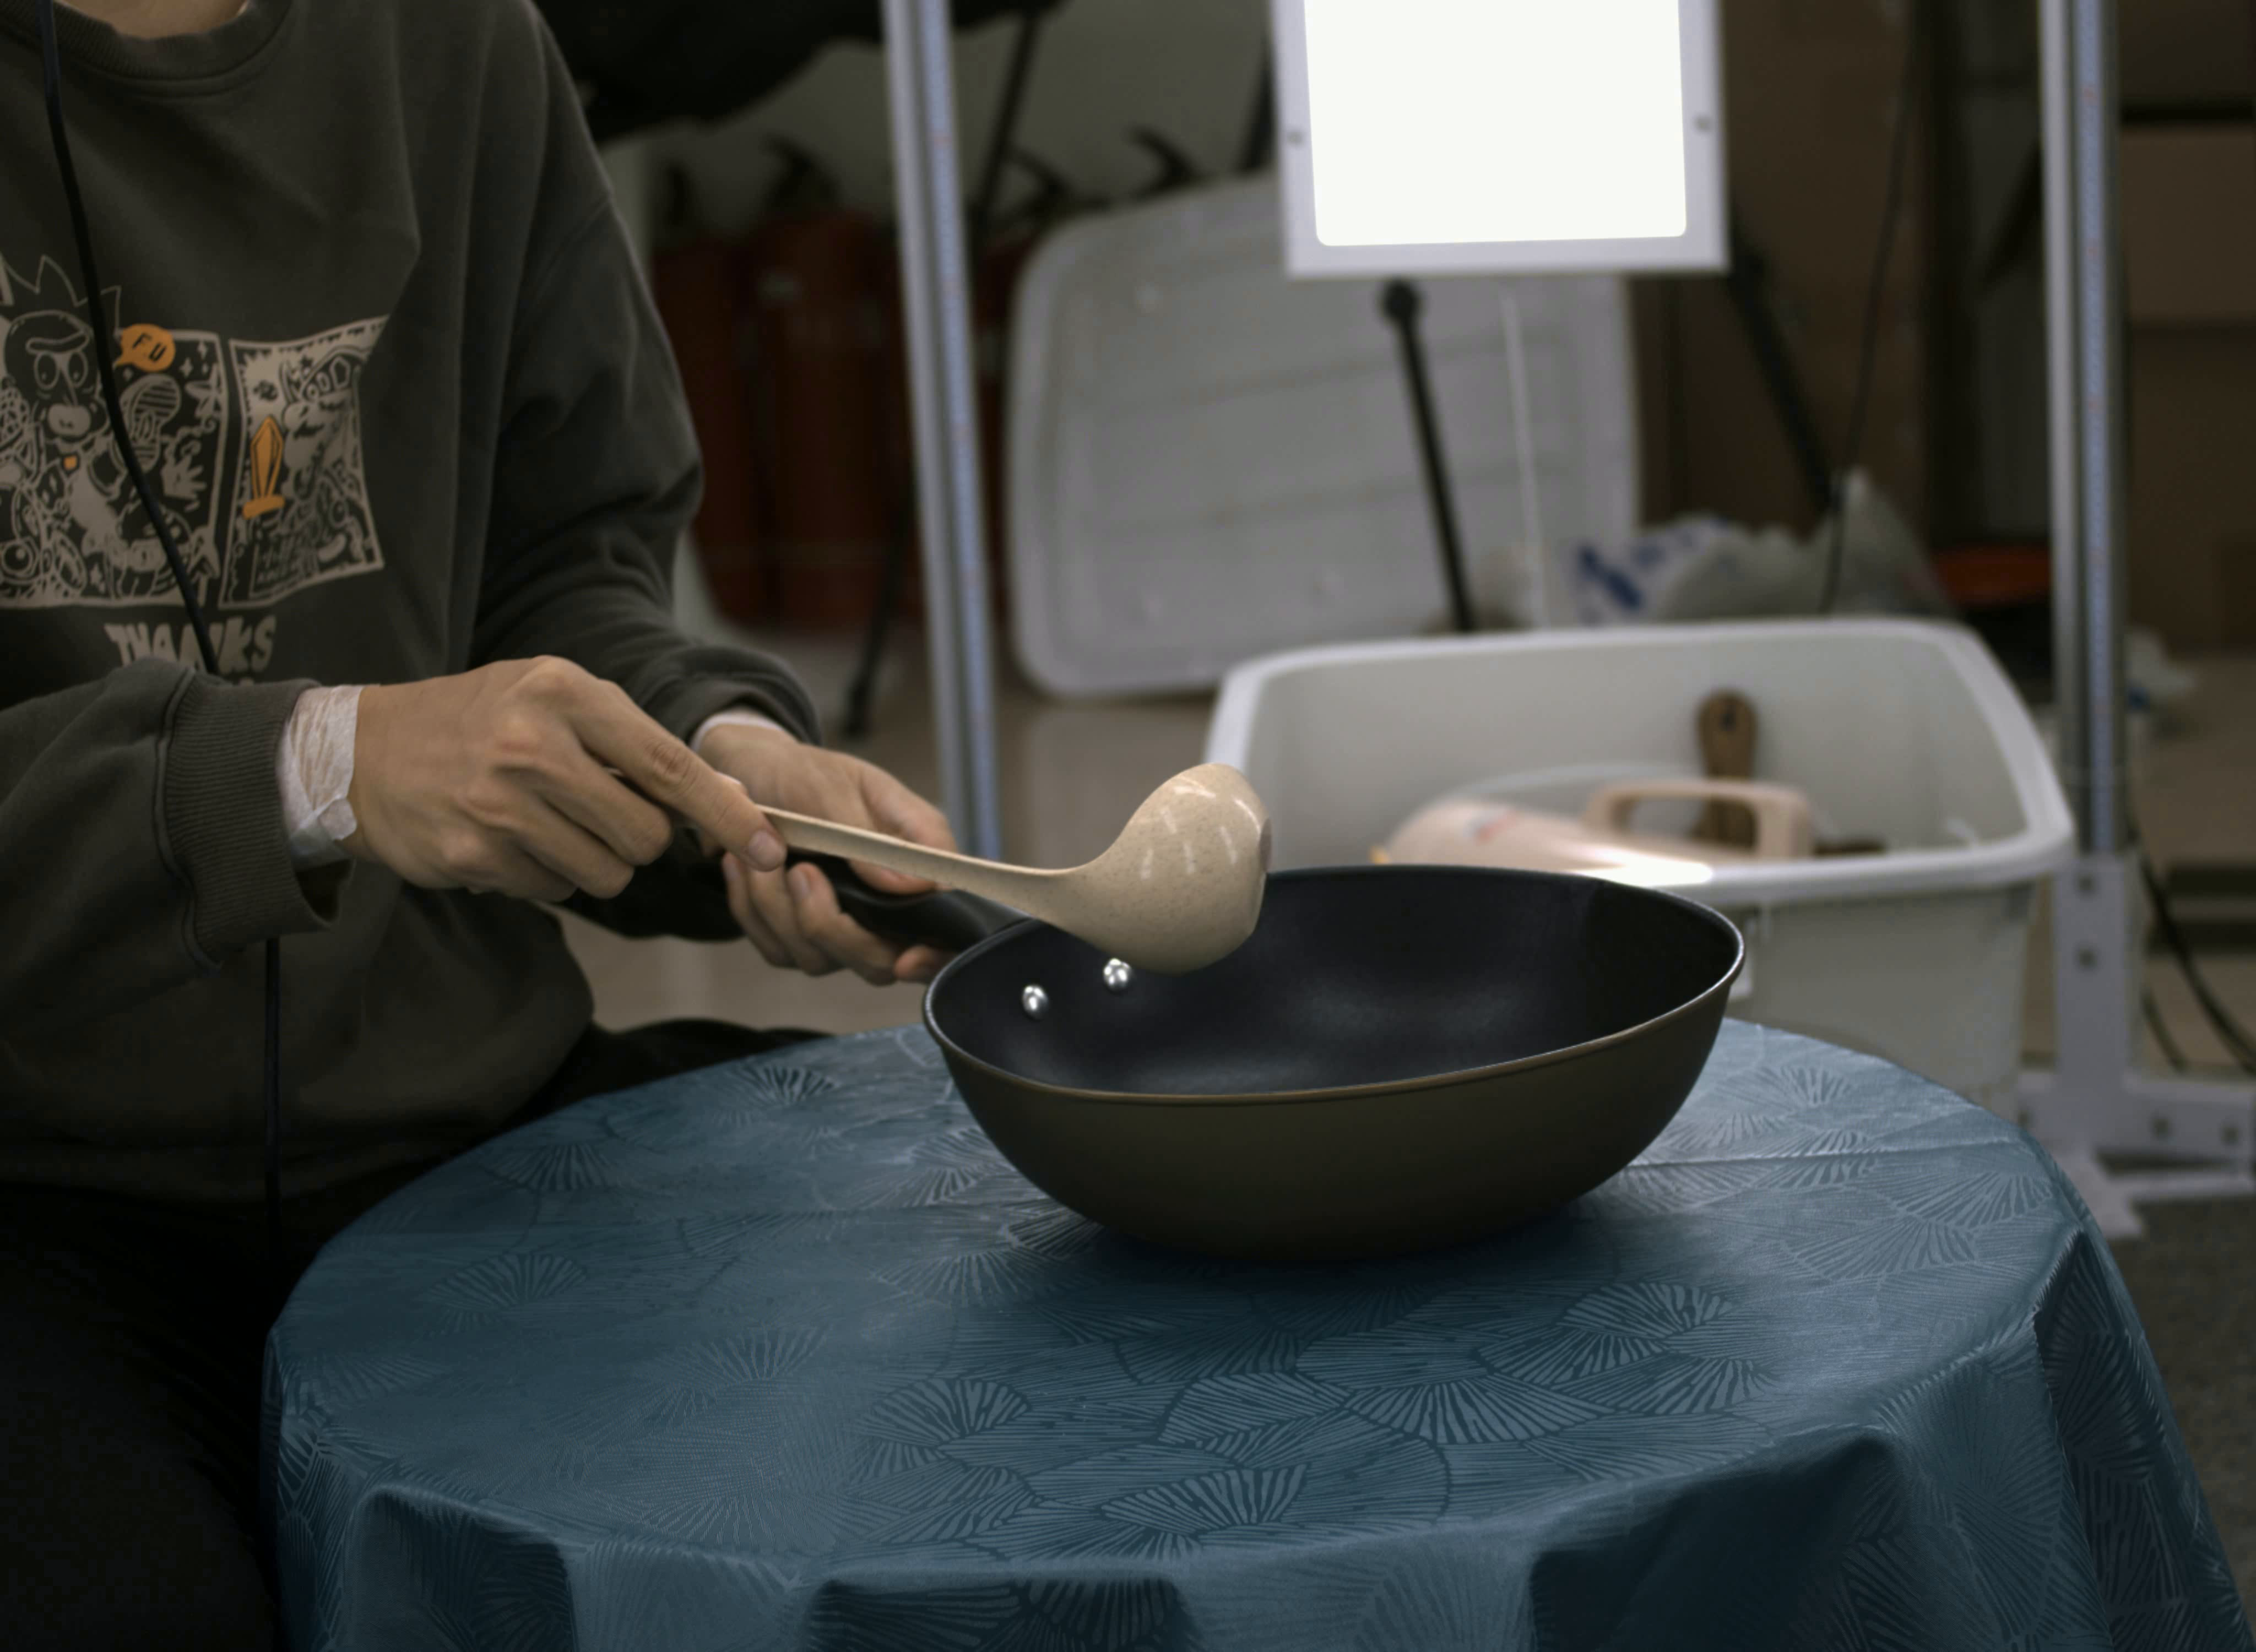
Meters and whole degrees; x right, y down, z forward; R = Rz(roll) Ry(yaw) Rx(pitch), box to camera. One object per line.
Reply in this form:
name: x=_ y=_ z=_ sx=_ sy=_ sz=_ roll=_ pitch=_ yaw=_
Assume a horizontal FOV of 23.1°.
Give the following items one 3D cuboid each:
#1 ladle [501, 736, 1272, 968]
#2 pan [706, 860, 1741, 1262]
ladle: x=-0.077 y=-0.014 z=1.827 sx=0.256 sy=0.072 sz=0.072 roll=15 pitch=46 yaw=12
pan: x=0.006 y=0.076 z=1.927 sx=0.281 sy=0.087 sz=0.473 roll=-18 pitch=18 yaw=-41
